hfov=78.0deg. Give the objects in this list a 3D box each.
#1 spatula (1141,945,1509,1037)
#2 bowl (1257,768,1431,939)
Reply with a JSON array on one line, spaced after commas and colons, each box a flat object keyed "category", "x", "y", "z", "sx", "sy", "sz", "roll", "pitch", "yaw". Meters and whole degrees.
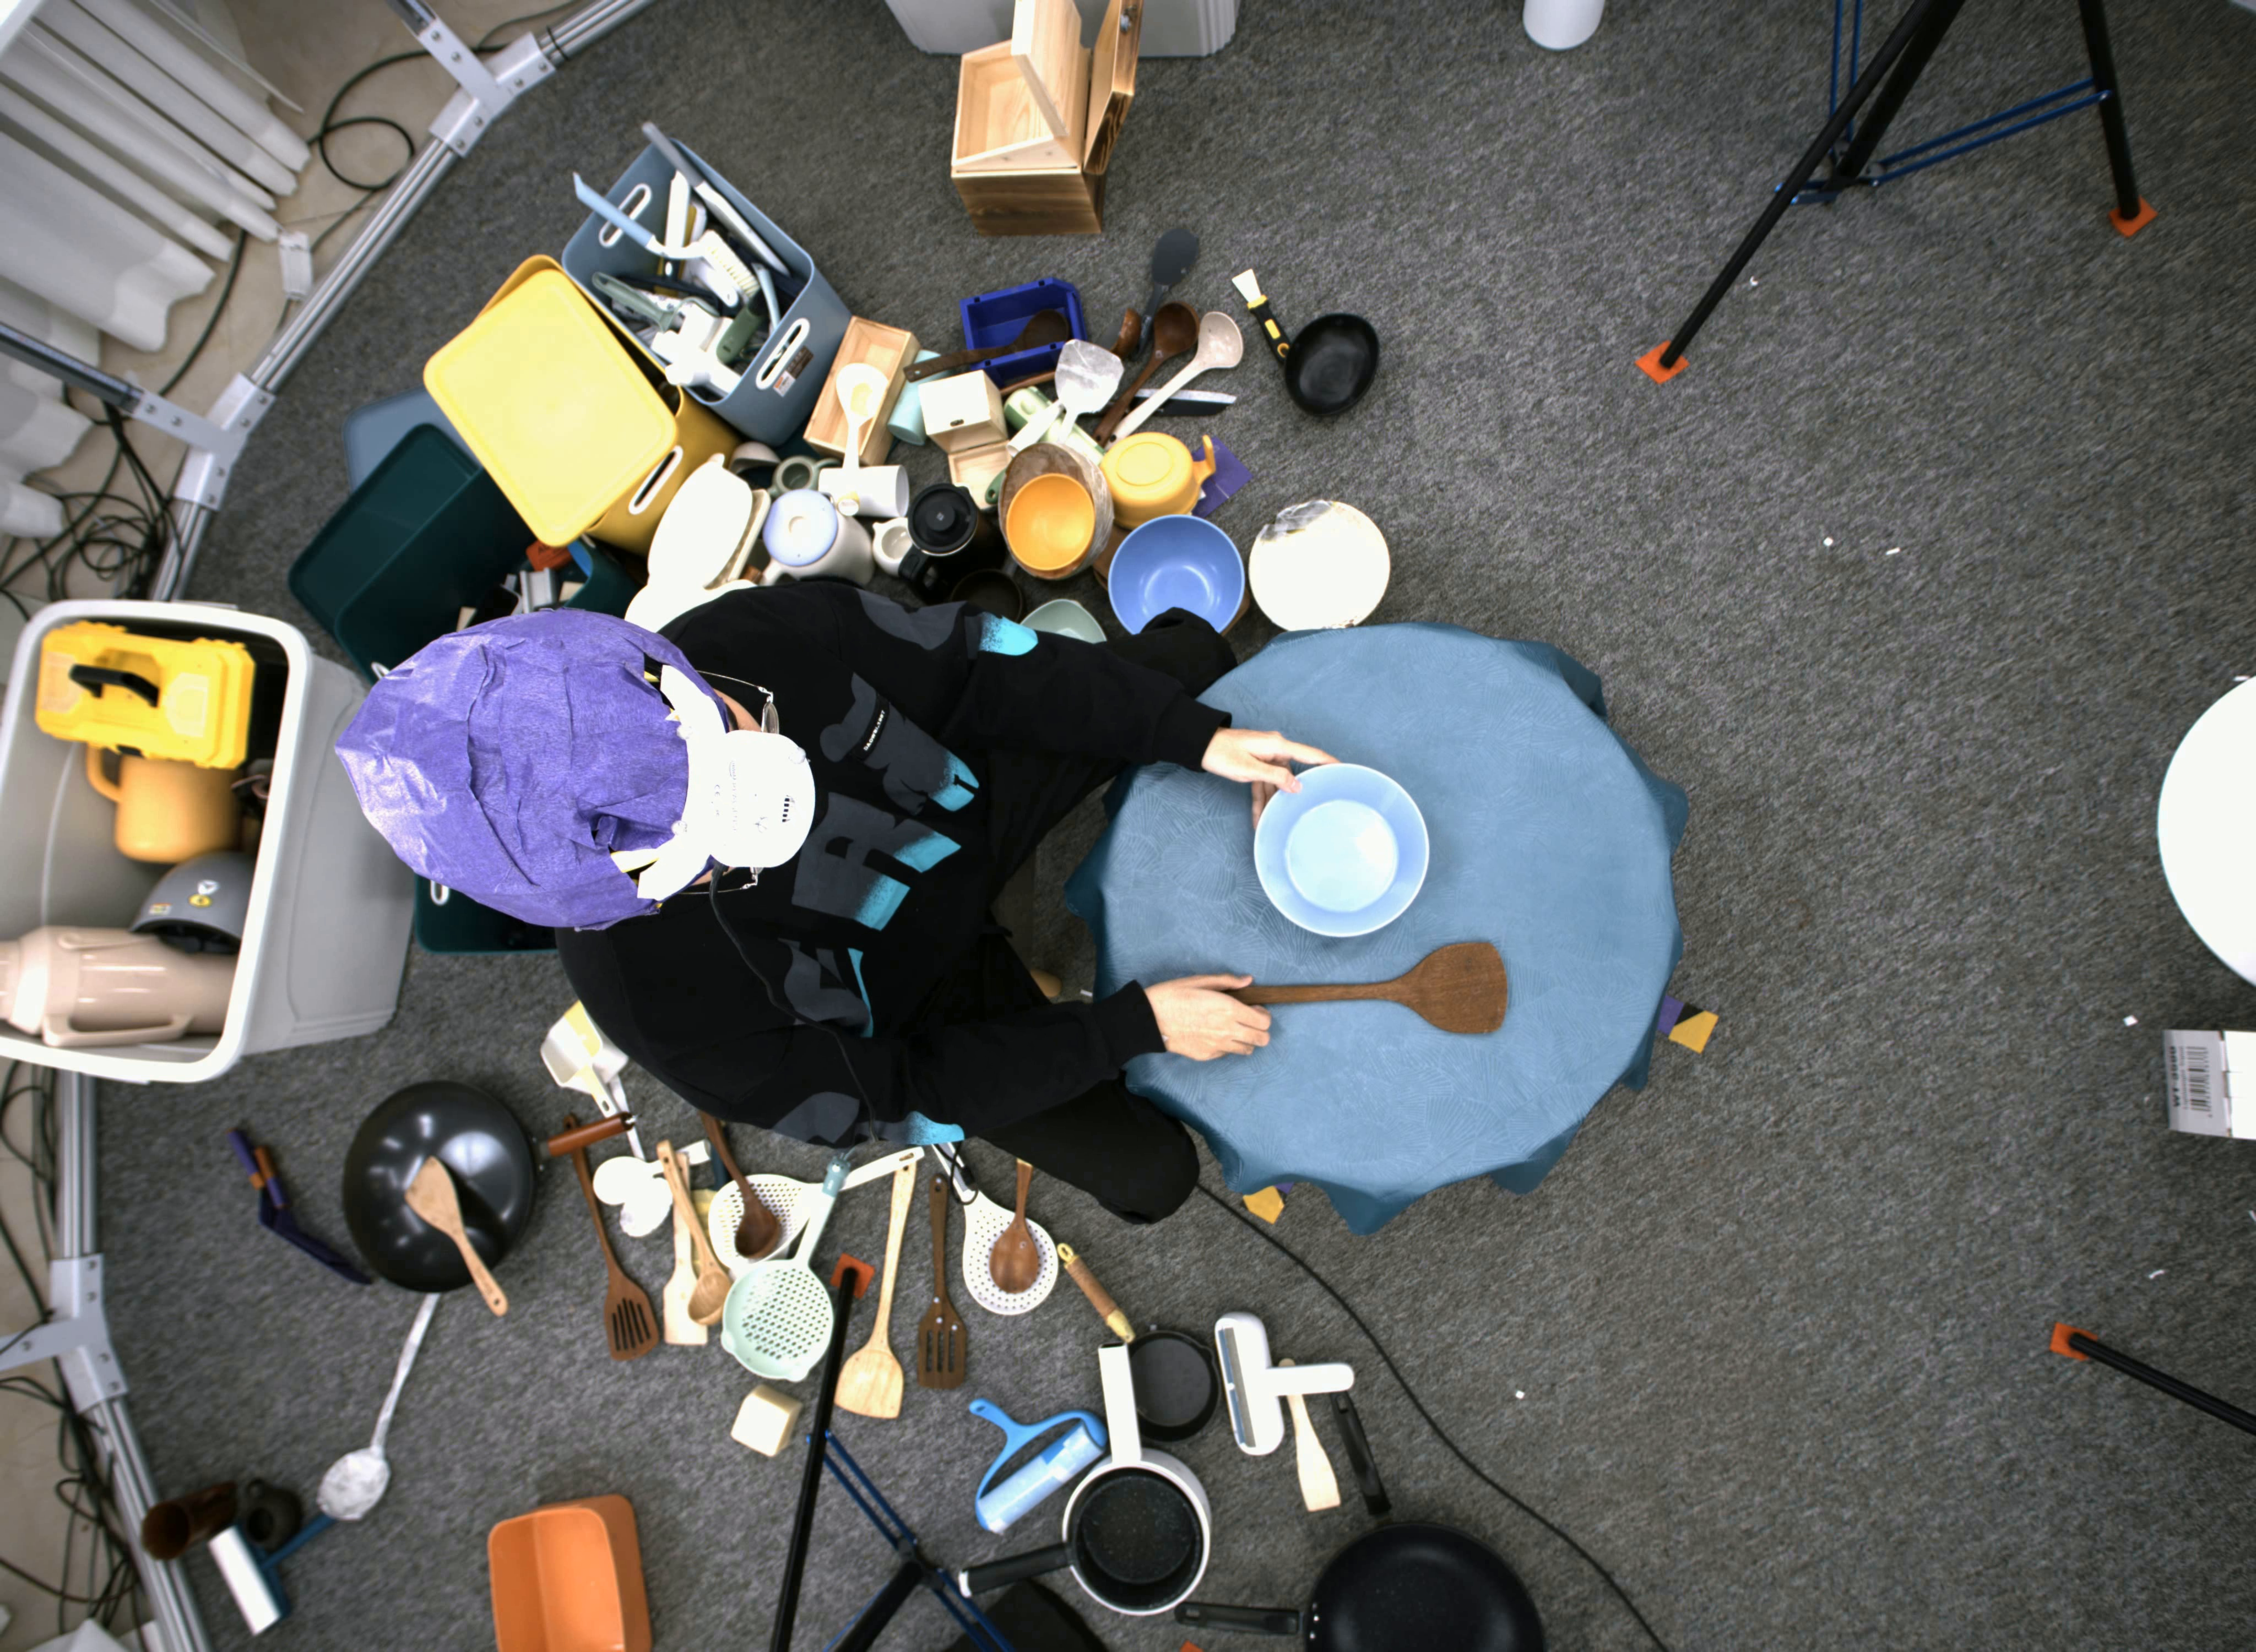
[{"category": "spatula", "x": 0.204, "y": 0.178, "z": 1.462, "sx": 0.387, "sy": 0.016, "sz": 0.095, "roll": -3, "pitch": 85, "yaw": 10}, {"category": "bowl", "x": 0.224, "y": 0.031, "z": 1.433, "sx": 0.177, "sy": 0.070, "sz": 0.175, "roll": -1, "pitch": 84, "yaw": 11}]
